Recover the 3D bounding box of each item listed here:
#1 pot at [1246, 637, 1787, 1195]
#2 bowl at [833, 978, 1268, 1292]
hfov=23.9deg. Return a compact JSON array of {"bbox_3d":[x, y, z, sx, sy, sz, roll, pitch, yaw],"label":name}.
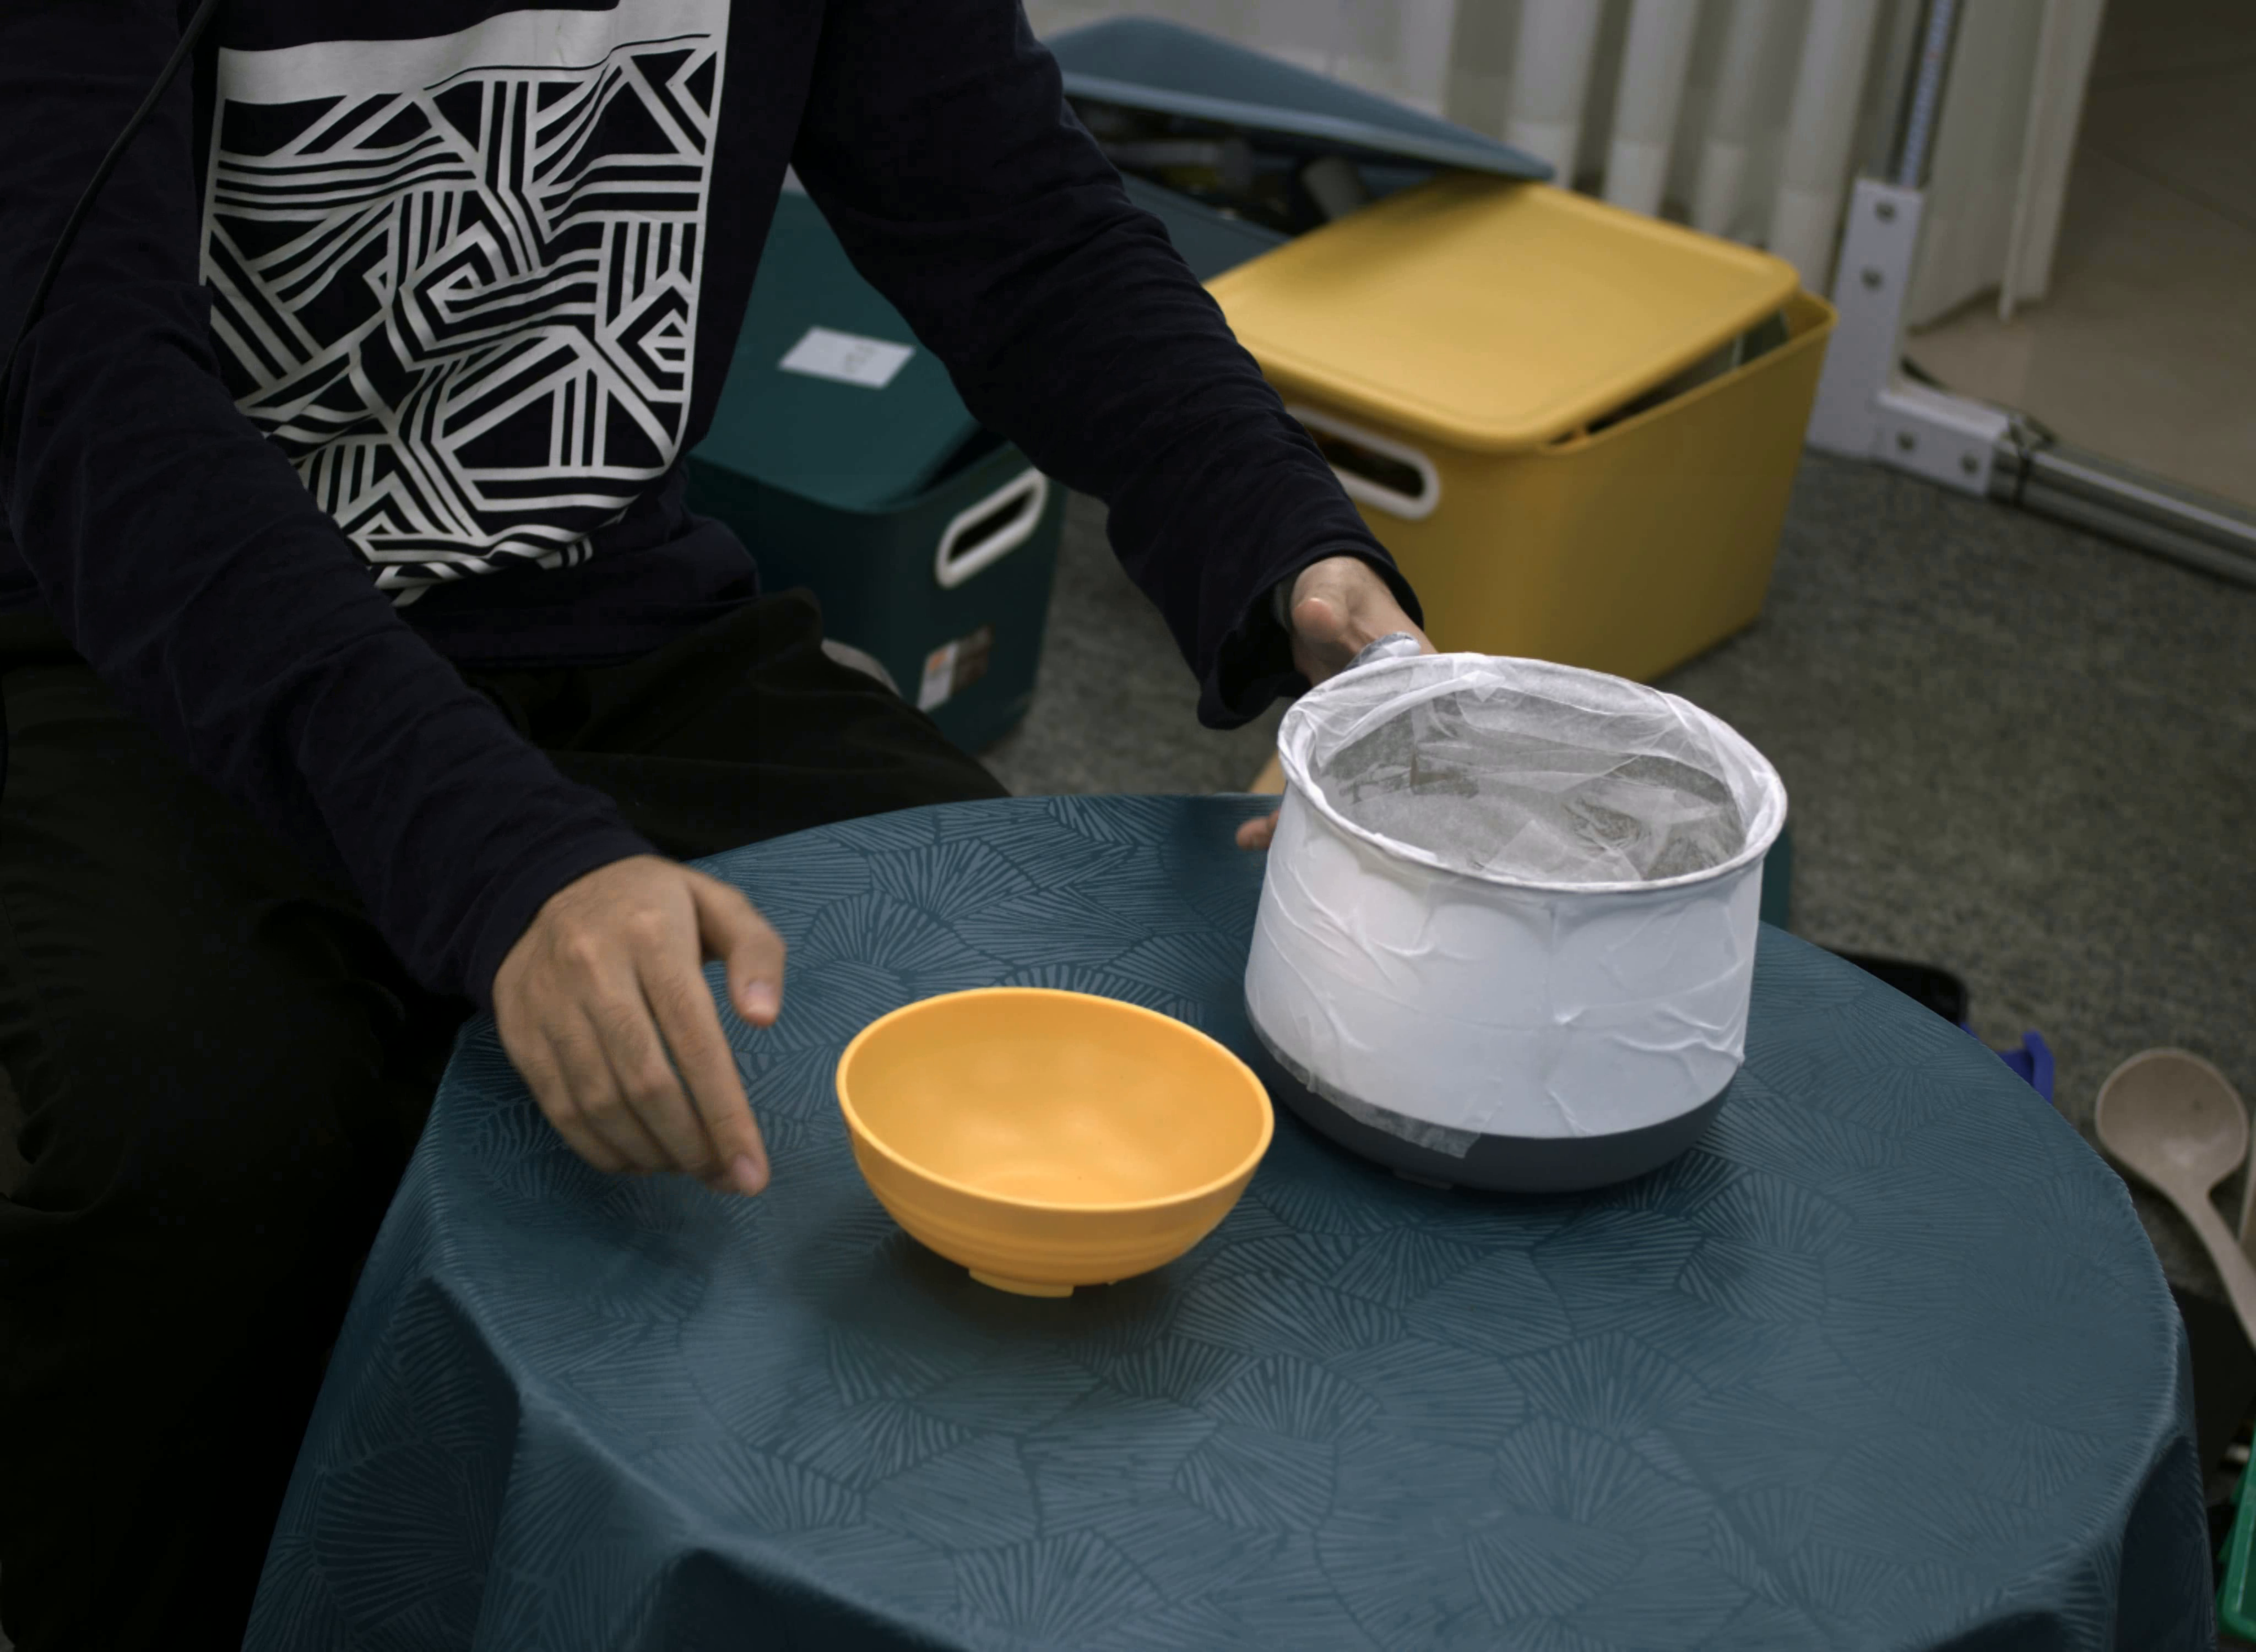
[{"bbox_3d":[0.121,0.025,1.881,0.177,0.136,0.236,-7,28,-25],"label":"pot"},{"bbox_3d":[-0.029,0.111,1.754,0.145,0.060,0.146,7,27,-4],"label":"bowl"}]
